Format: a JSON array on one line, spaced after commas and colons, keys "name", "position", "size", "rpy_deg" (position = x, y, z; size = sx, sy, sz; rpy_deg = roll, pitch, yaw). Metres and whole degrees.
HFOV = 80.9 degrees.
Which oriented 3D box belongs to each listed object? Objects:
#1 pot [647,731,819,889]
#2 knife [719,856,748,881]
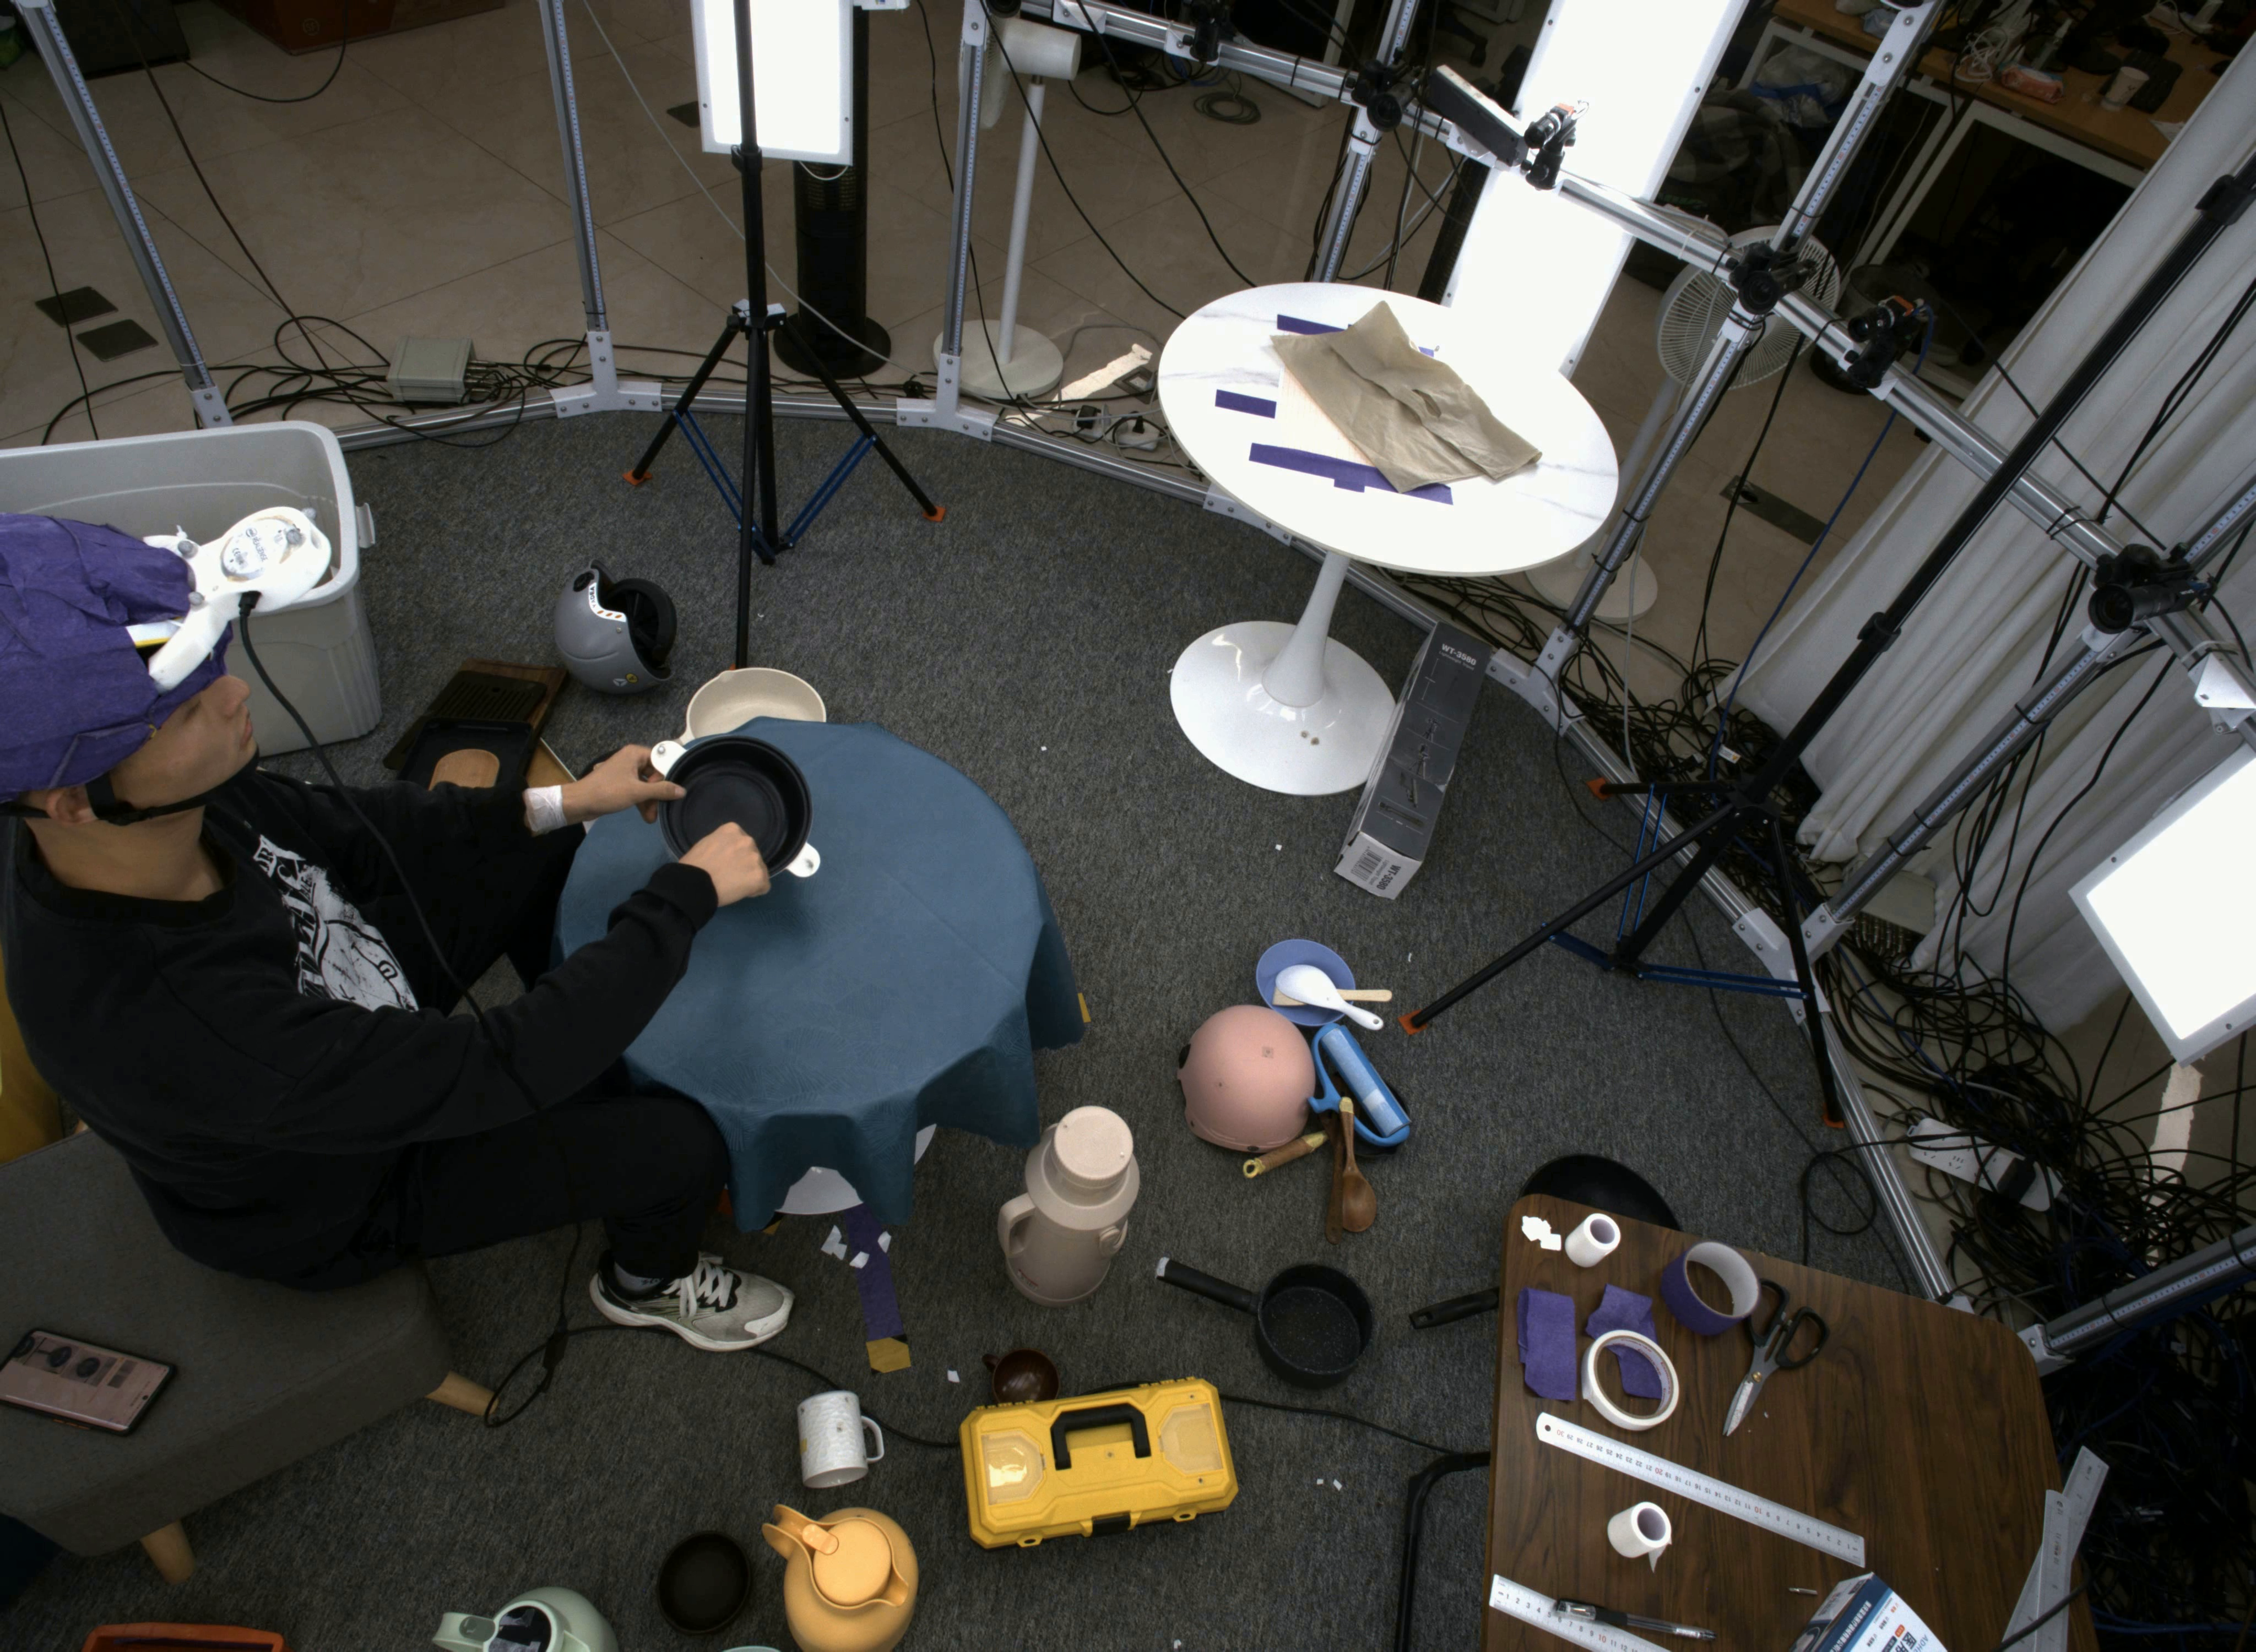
[{"name": "pot", "position": [-0.491, -0.019, 1.598], "size": [0.245, 0.140, 0.190], "rpy_deg": [39, 73, -17]}, {"name": "knife", "position": [-0.452, 0.050, 1.495], "size": [0.026, 0.224, 0.017], "rpy_deg": [-42, 92, -13]}]
